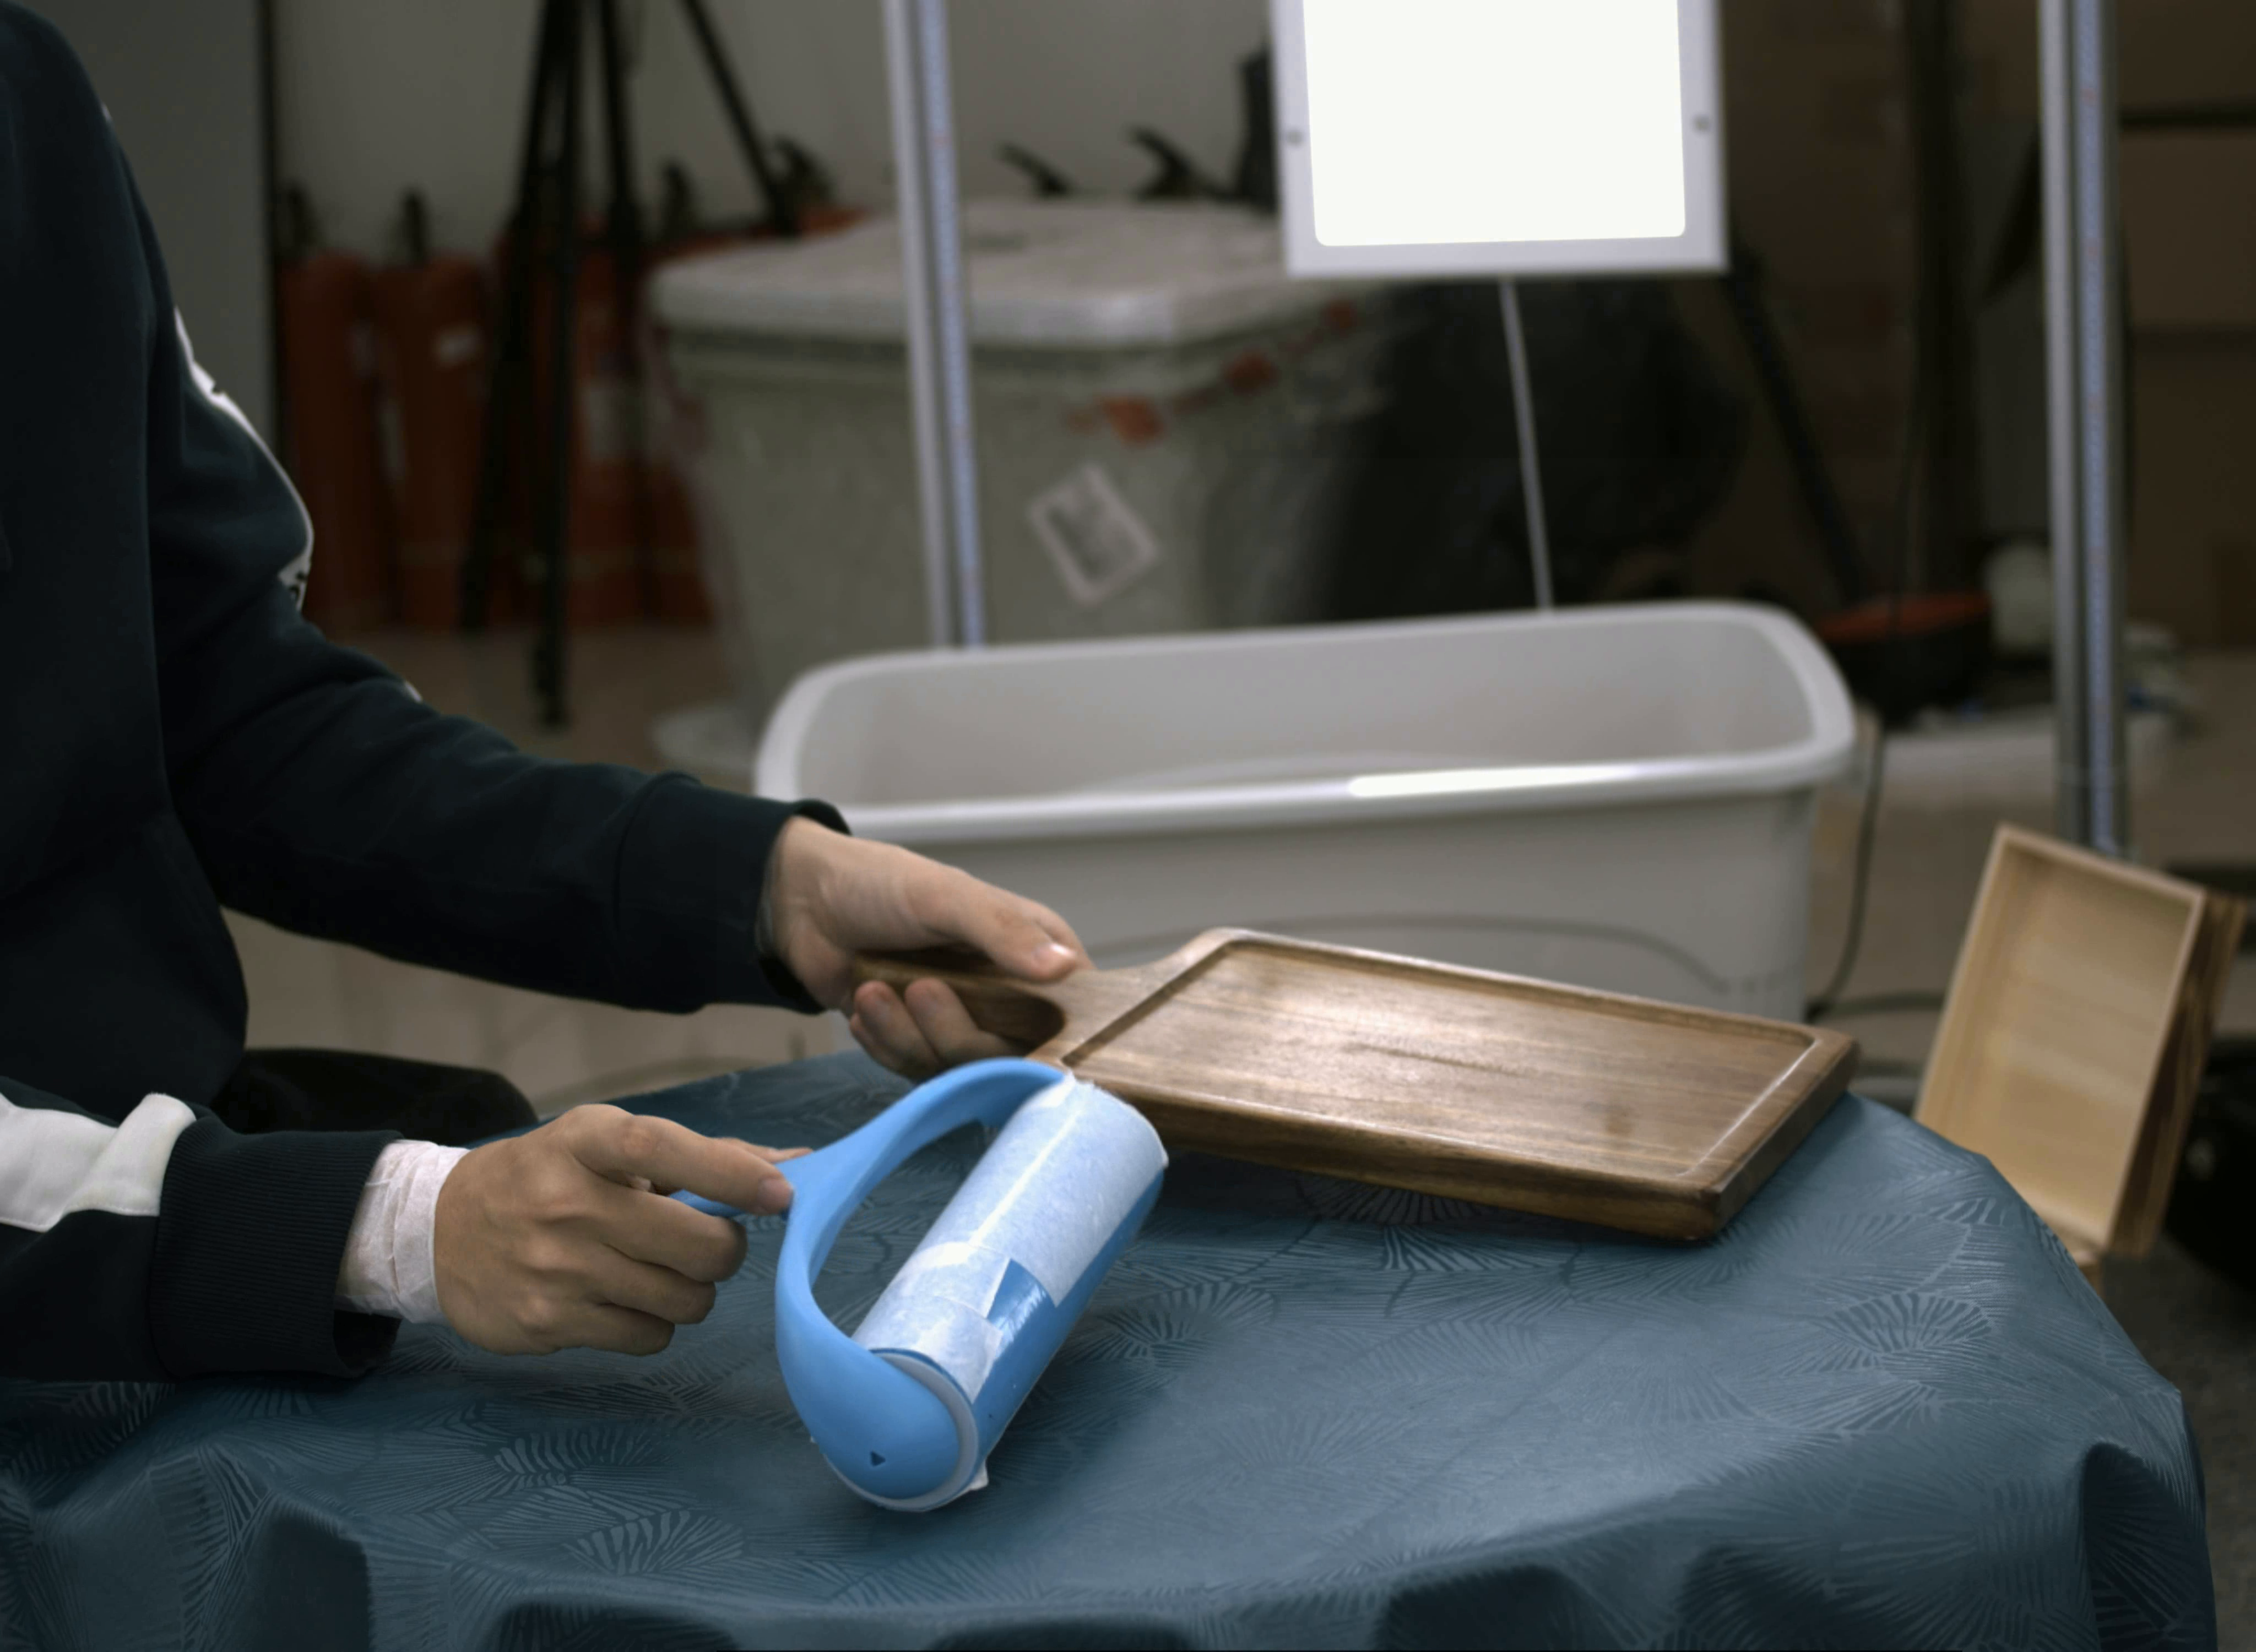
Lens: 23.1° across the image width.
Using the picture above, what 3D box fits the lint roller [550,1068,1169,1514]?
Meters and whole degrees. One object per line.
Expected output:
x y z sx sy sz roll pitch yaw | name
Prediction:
-0.096 0.138 1.706 0.182 0.068 0.225 4 23 15 | lint roller

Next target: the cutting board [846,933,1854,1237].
0.065 0.079 1.926 0.357 0.023 0.197 8 16 21 | cutting board
